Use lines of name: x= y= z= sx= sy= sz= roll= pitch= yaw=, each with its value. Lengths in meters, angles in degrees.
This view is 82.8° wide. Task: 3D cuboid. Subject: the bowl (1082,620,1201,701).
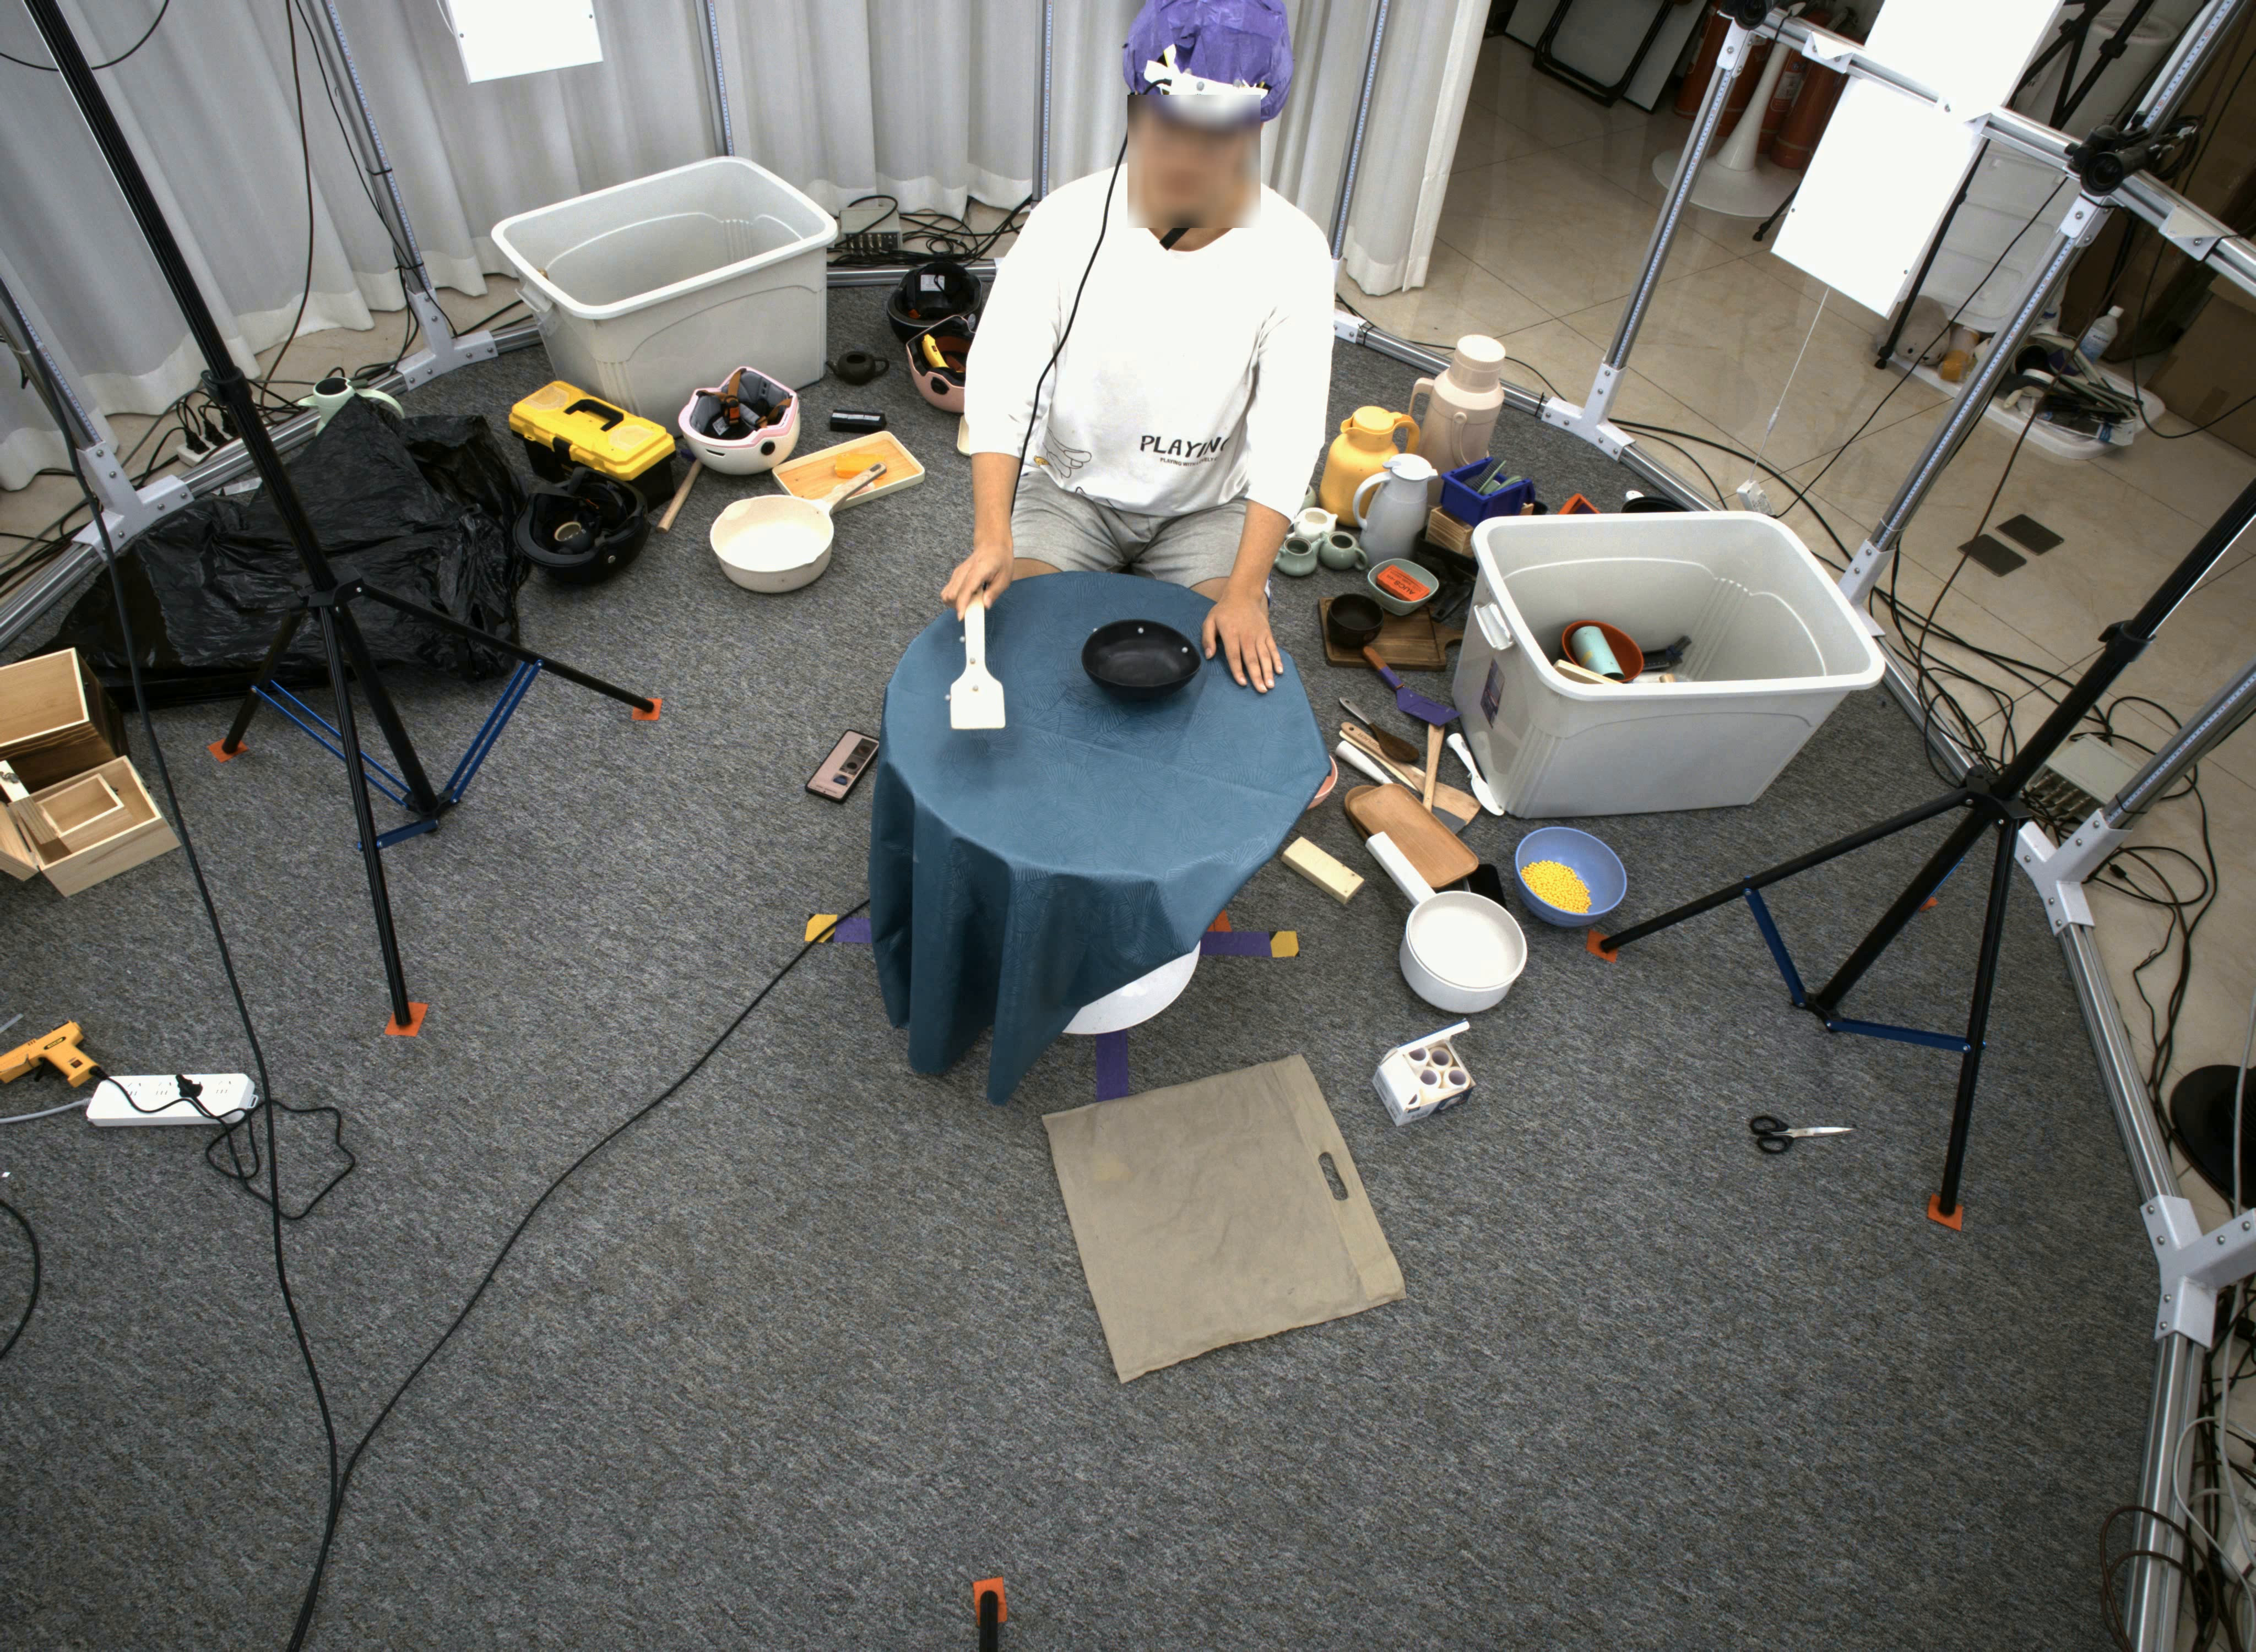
bowl: x=0.018 y=-0.225 z=1.820 sx=0.170 sy=0.065 sz=0.141 roll=-3 pitch=49 yaw=-10

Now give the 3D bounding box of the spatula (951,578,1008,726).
spatula: x=-0.206 y=-0.243 z=1.761 sx=0.072 sy=0.010 sz=0.300 roll=-3 pitch=50 yaw=-6
